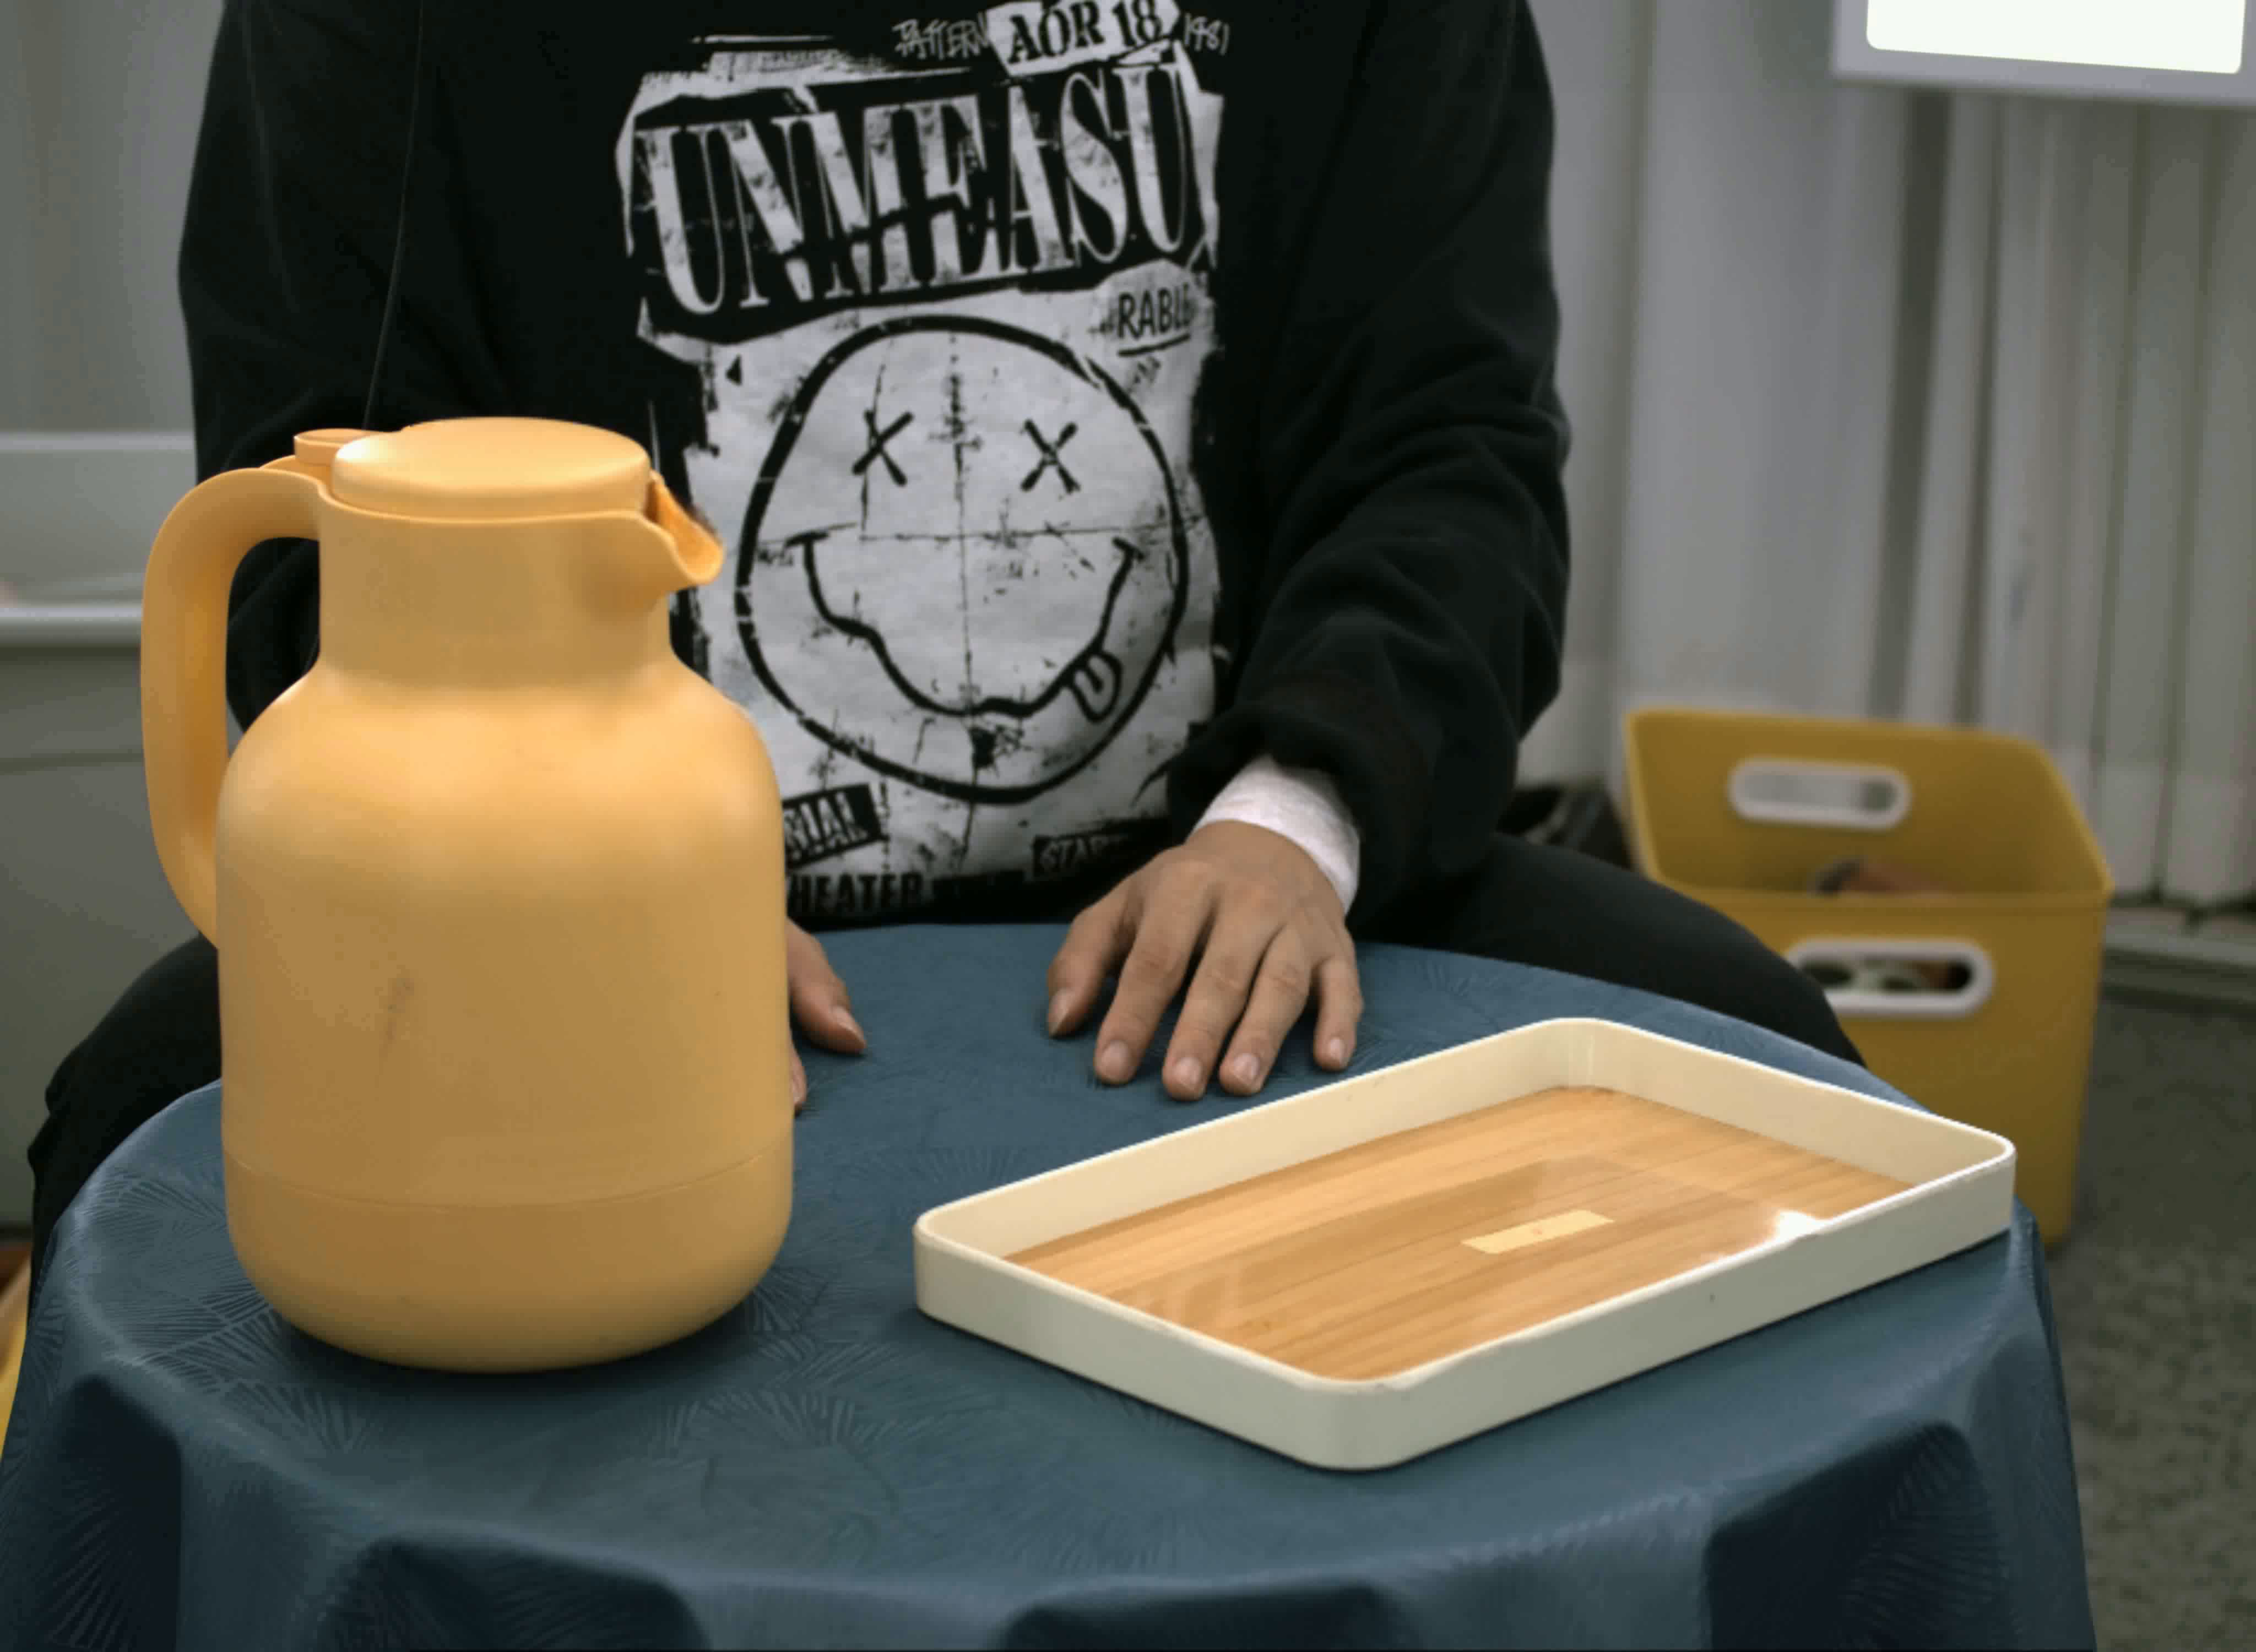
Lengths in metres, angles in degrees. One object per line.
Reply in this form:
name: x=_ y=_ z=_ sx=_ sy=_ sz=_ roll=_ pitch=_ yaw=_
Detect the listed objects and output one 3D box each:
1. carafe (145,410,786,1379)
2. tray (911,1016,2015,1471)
carafe: x=-0.193 y=0.012 z=1.494 sx=0.200 sy=0.262 sz=0.164 roll=11 pitch=17 yaw=31
tray: x=0.102 y=0.117 z=1.557 sx=0.302 sy=0.027 sz=0.189 roll=-14 pitch=21 yaw=-42
